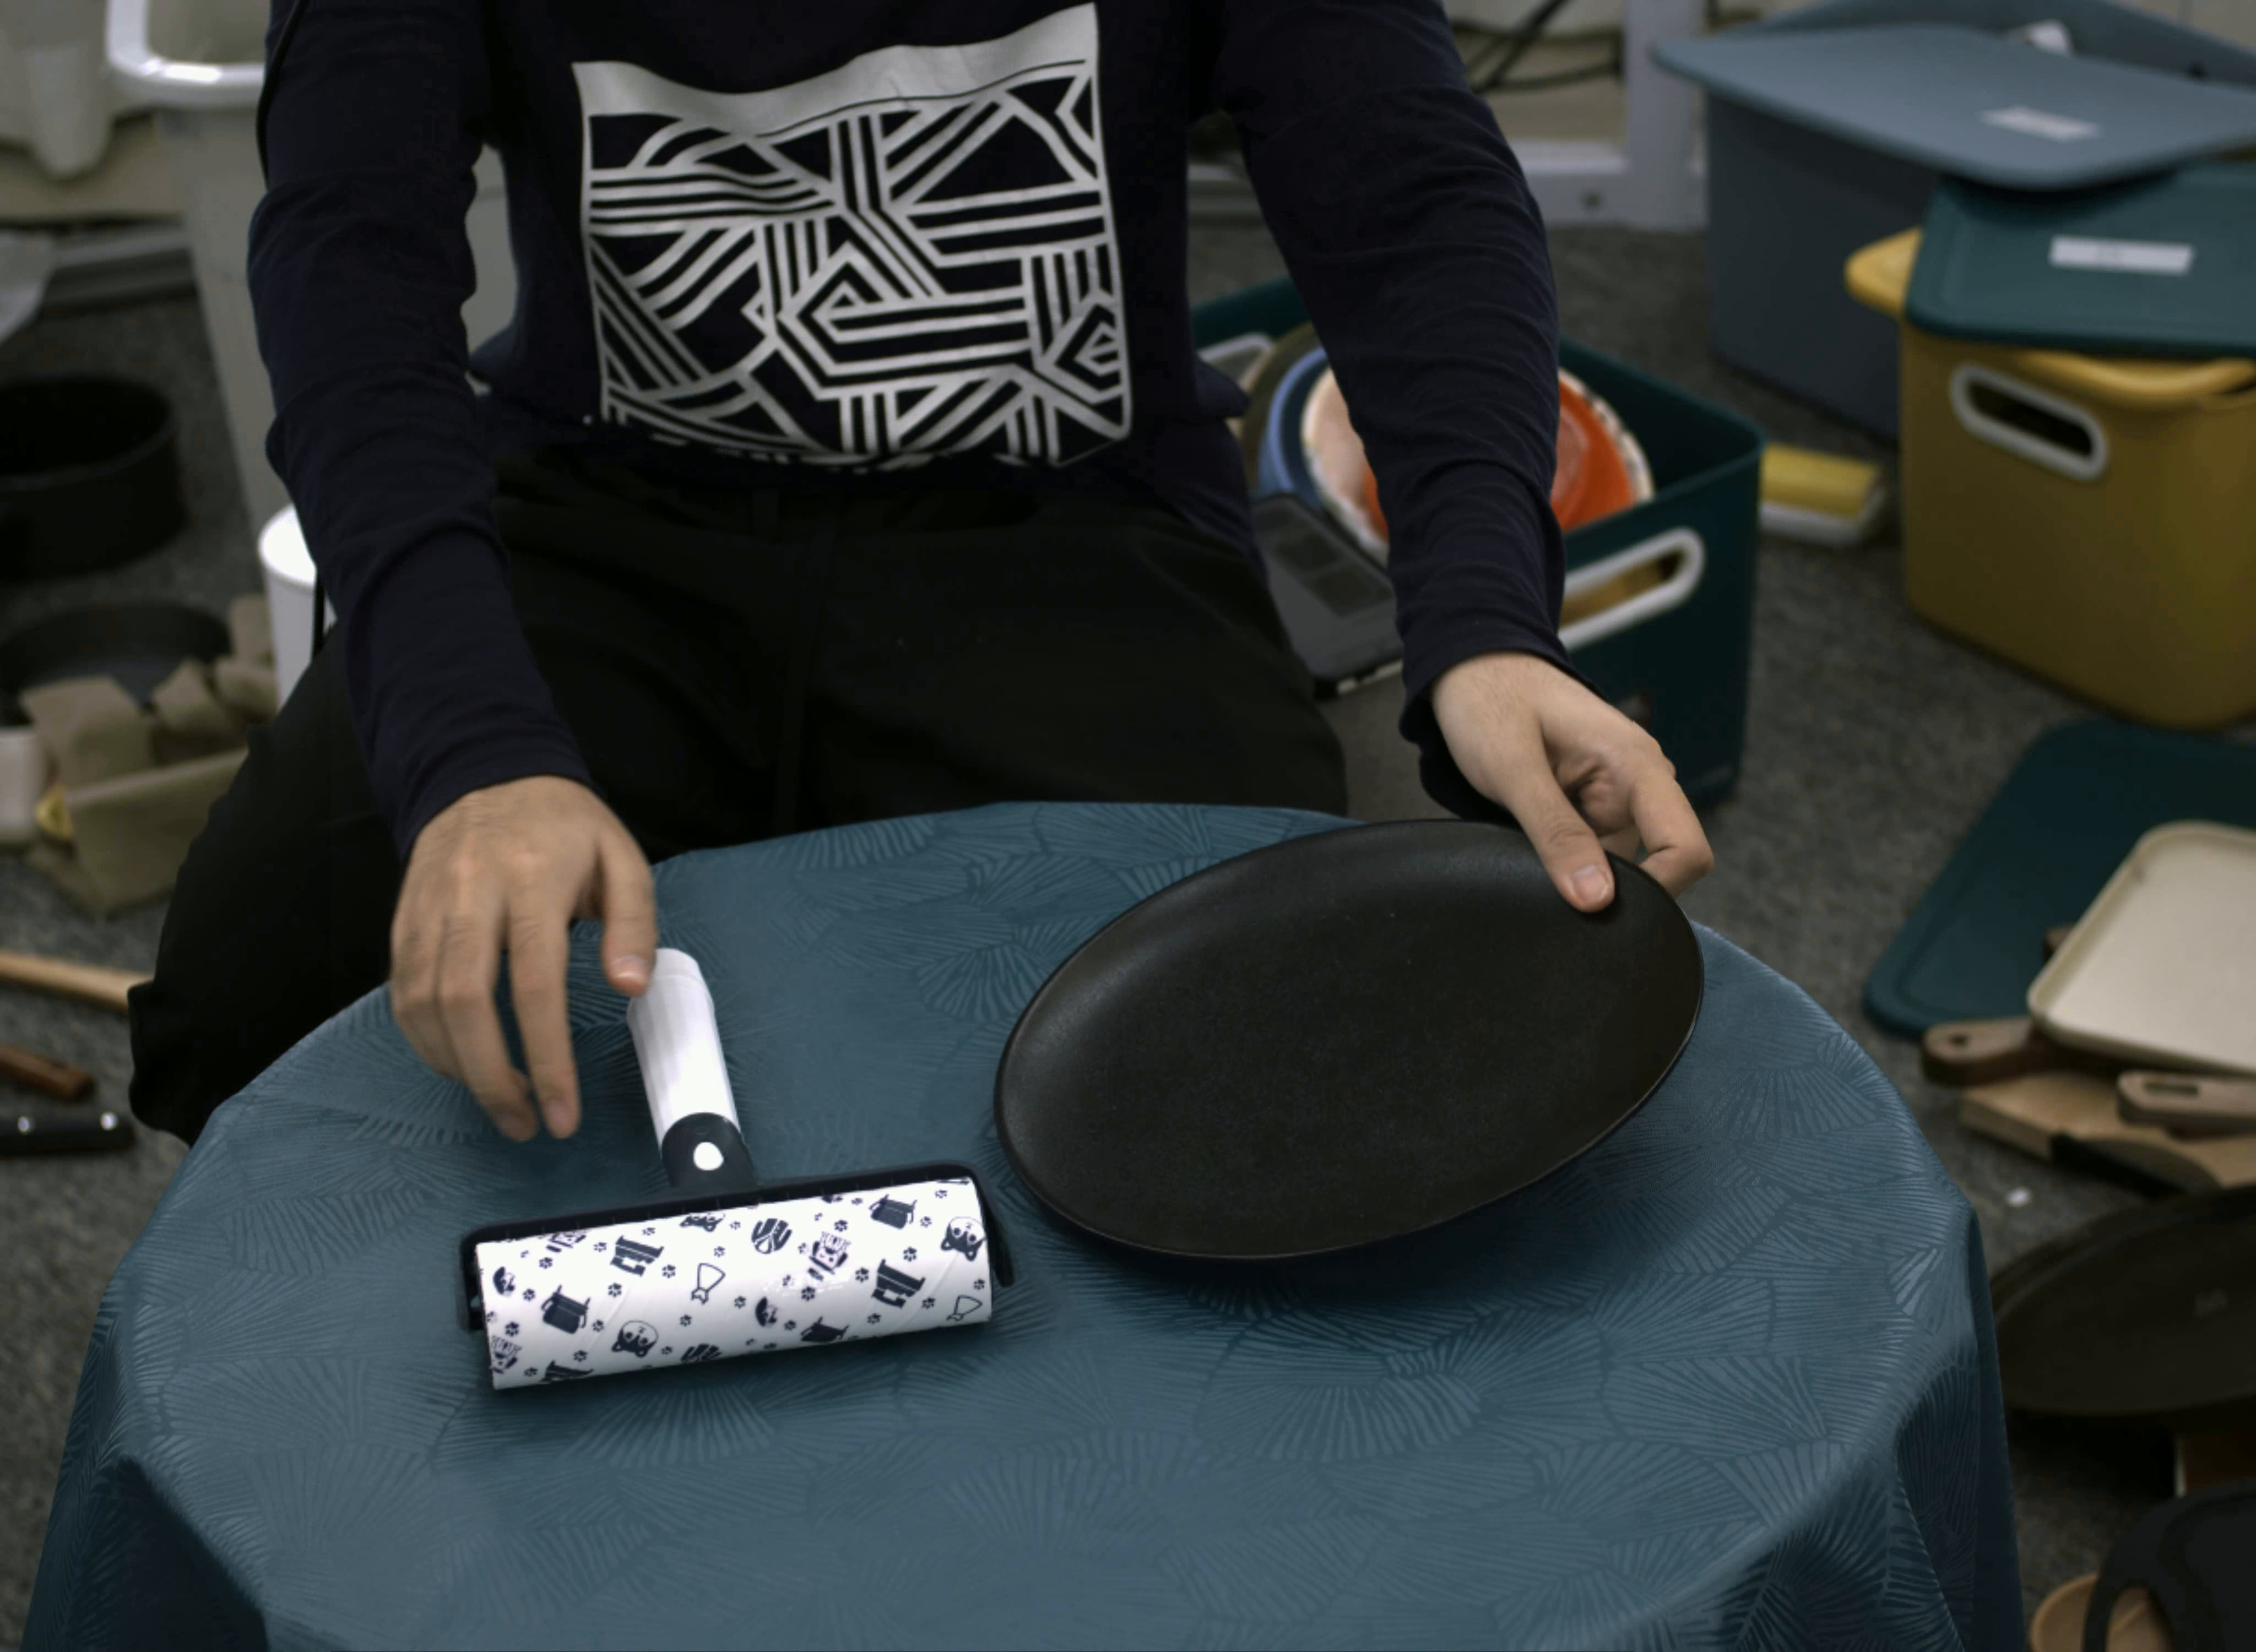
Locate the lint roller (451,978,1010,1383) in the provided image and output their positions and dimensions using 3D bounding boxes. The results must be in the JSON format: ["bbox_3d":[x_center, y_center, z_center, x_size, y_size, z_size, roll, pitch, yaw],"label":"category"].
[{"bbox_3d":[-0.145,0.103,1.869,0.176,0.050,0.249,-8,25,-9],"label":"lint roller"}]

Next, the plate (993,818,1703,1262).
[{"bbox_3d":[0.074,0.075,1.884,0.243,0.023,0.248,-11,31,7],"label":"plate"}]
